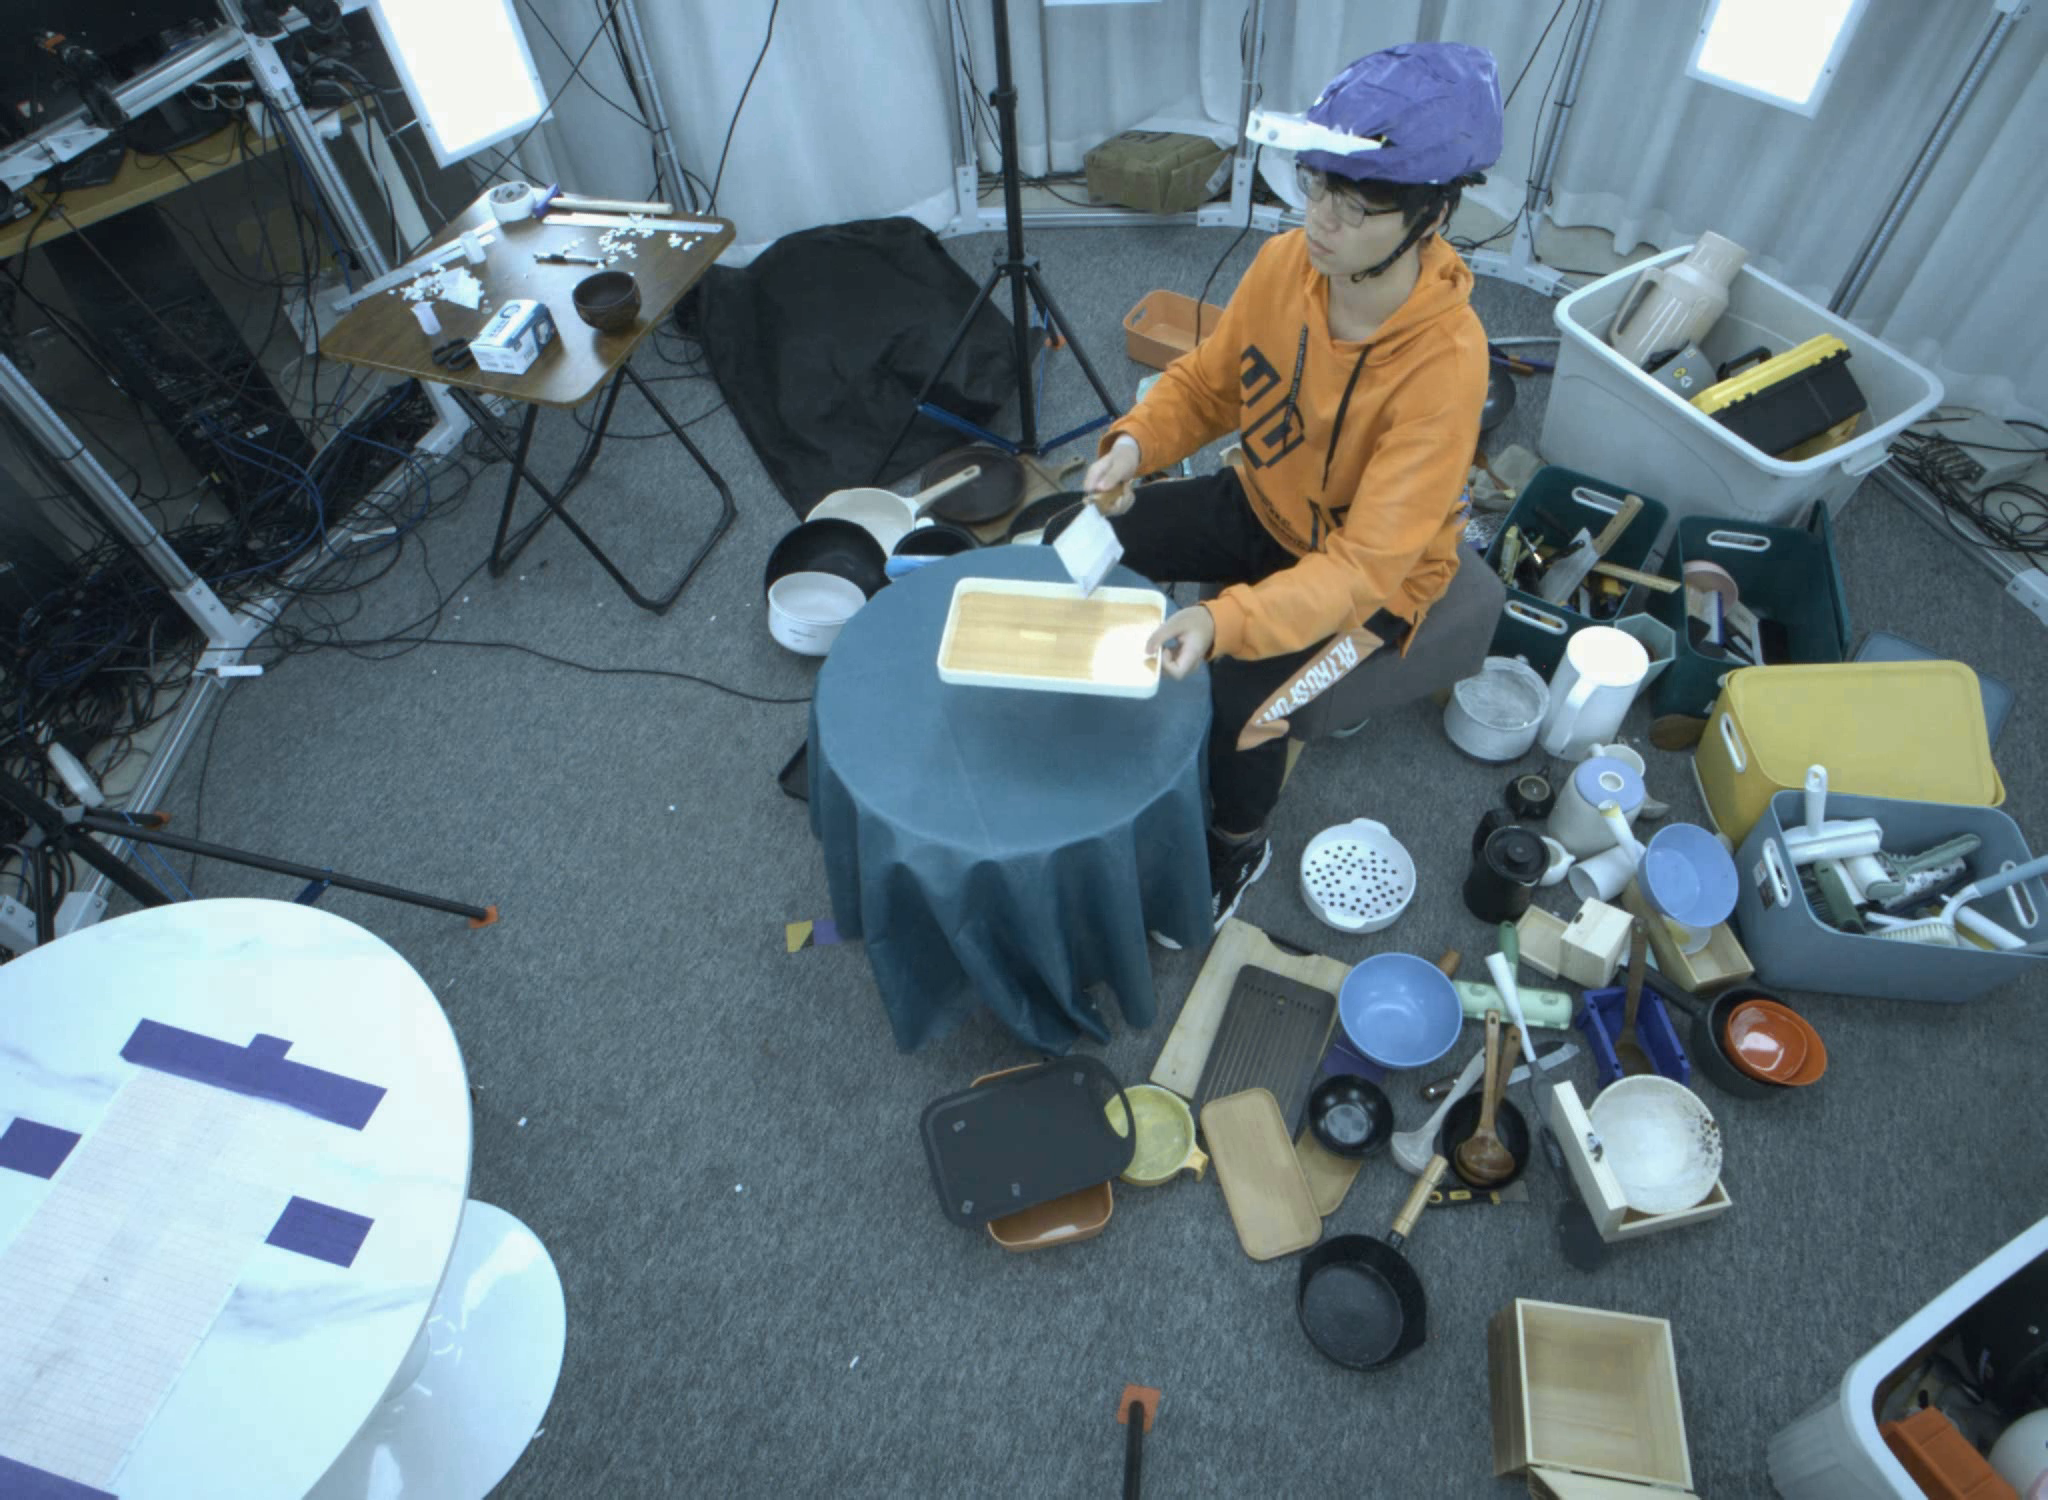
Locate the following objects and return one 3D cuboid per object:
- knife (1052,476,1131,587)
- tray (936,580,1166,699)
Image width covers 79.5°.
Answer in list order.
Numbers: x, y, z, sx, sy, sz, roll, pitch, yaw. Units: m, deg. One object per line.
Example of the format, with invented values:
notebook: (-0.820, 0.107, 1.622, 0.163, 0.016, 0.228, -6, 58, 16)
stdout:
knife: (0.108, -0.311, 1.742, 0.020, 0.094, 0.306, -21, 19, 31)
tray: (0.040, -0.155, 1.695, 0.299, 0.028, 0.190, 5, 50, 4)
